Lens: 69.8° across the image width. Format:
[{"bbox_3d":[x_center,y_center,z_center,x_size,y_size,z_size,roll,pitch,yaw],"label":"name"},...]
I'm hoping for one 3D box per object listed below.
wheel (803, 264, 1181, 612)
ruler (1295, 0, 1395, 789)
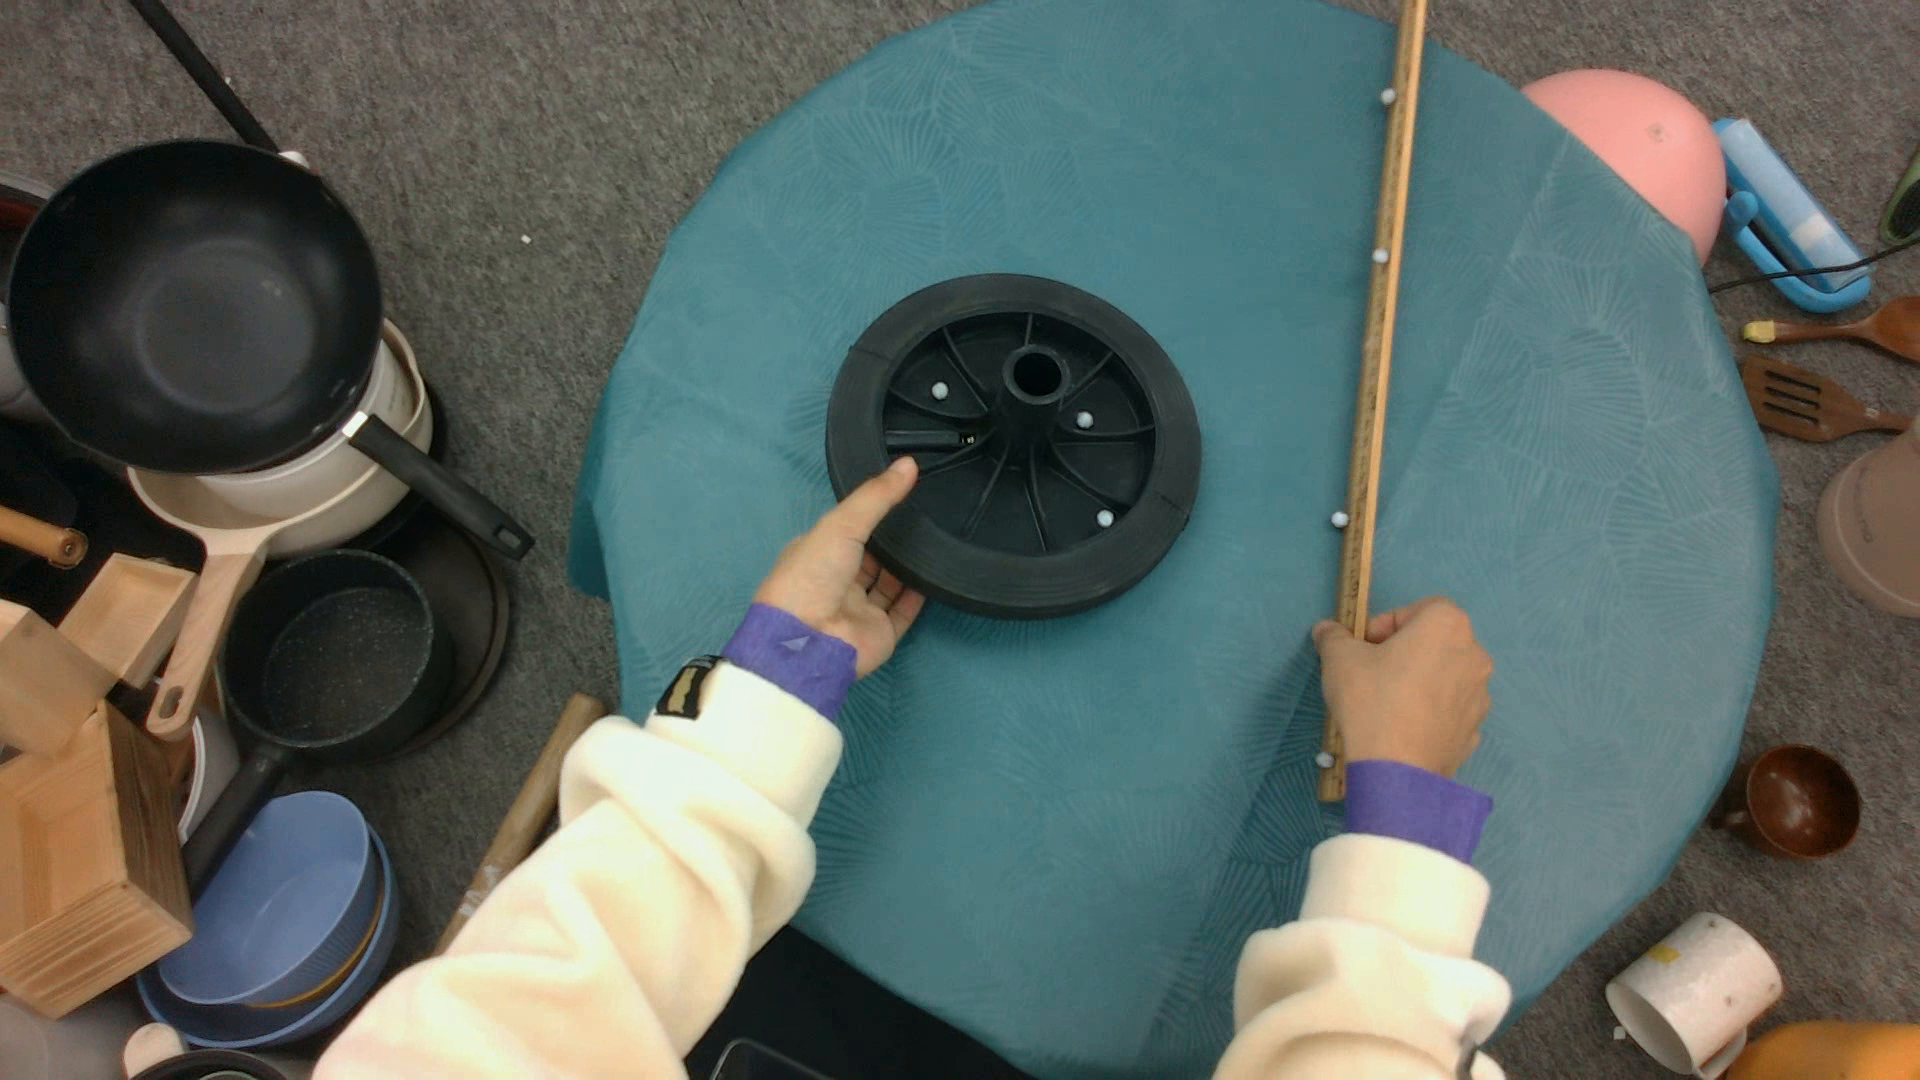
[{"bbox_3d":[0.020,-0.063,0.665,0.190,0.079,0.187,-24,71,-18],"label":"wheel"},{"bbox_3d":[0.206,-0.119,0.723,0.006,0.026,0.502,16,71,-18],"label":"ruler"}]
